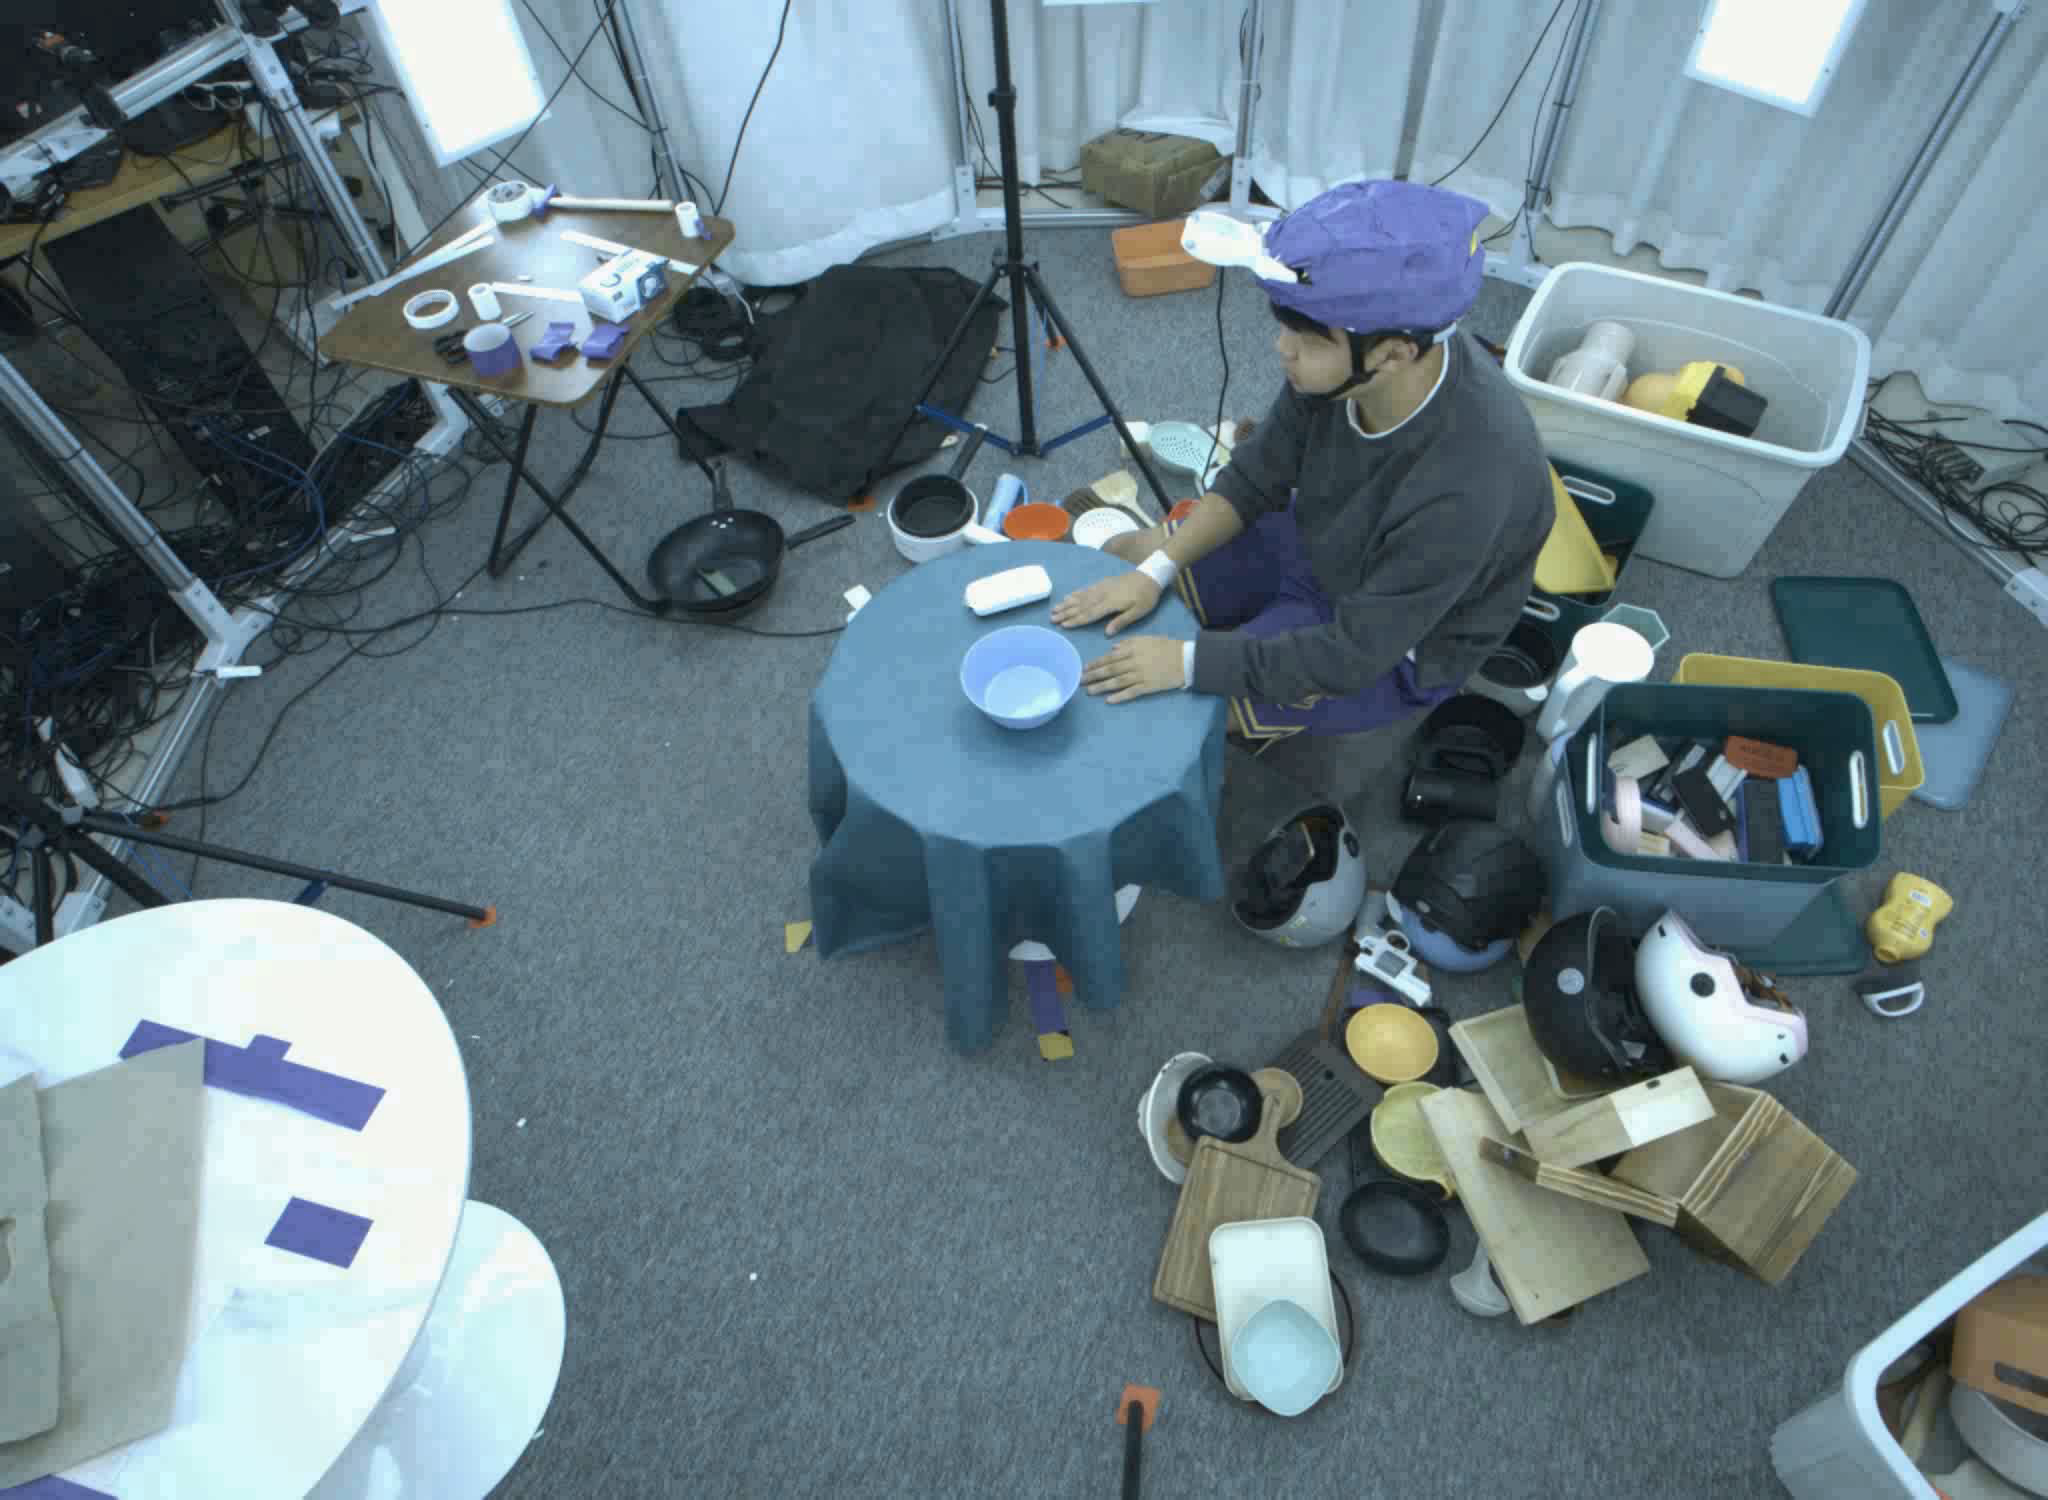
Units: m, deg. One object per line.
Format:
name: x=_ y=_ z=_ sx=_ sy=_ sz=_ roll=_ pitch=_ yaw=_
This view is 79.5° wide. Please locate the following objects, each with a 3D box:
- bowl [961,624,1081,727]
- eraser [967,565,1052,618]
bowl: x=-0.003 y=-0.099 z=1.816 sx=0.176 sy=0.071 sz=0.174 roll=-1 pitch=55 yaw=2
eraser: x=-0.023 y=-0.252 z=1.950 sx=0.132 sy=0.035 sz=0.062 roll=-17 pitch=57 yaw=-8
